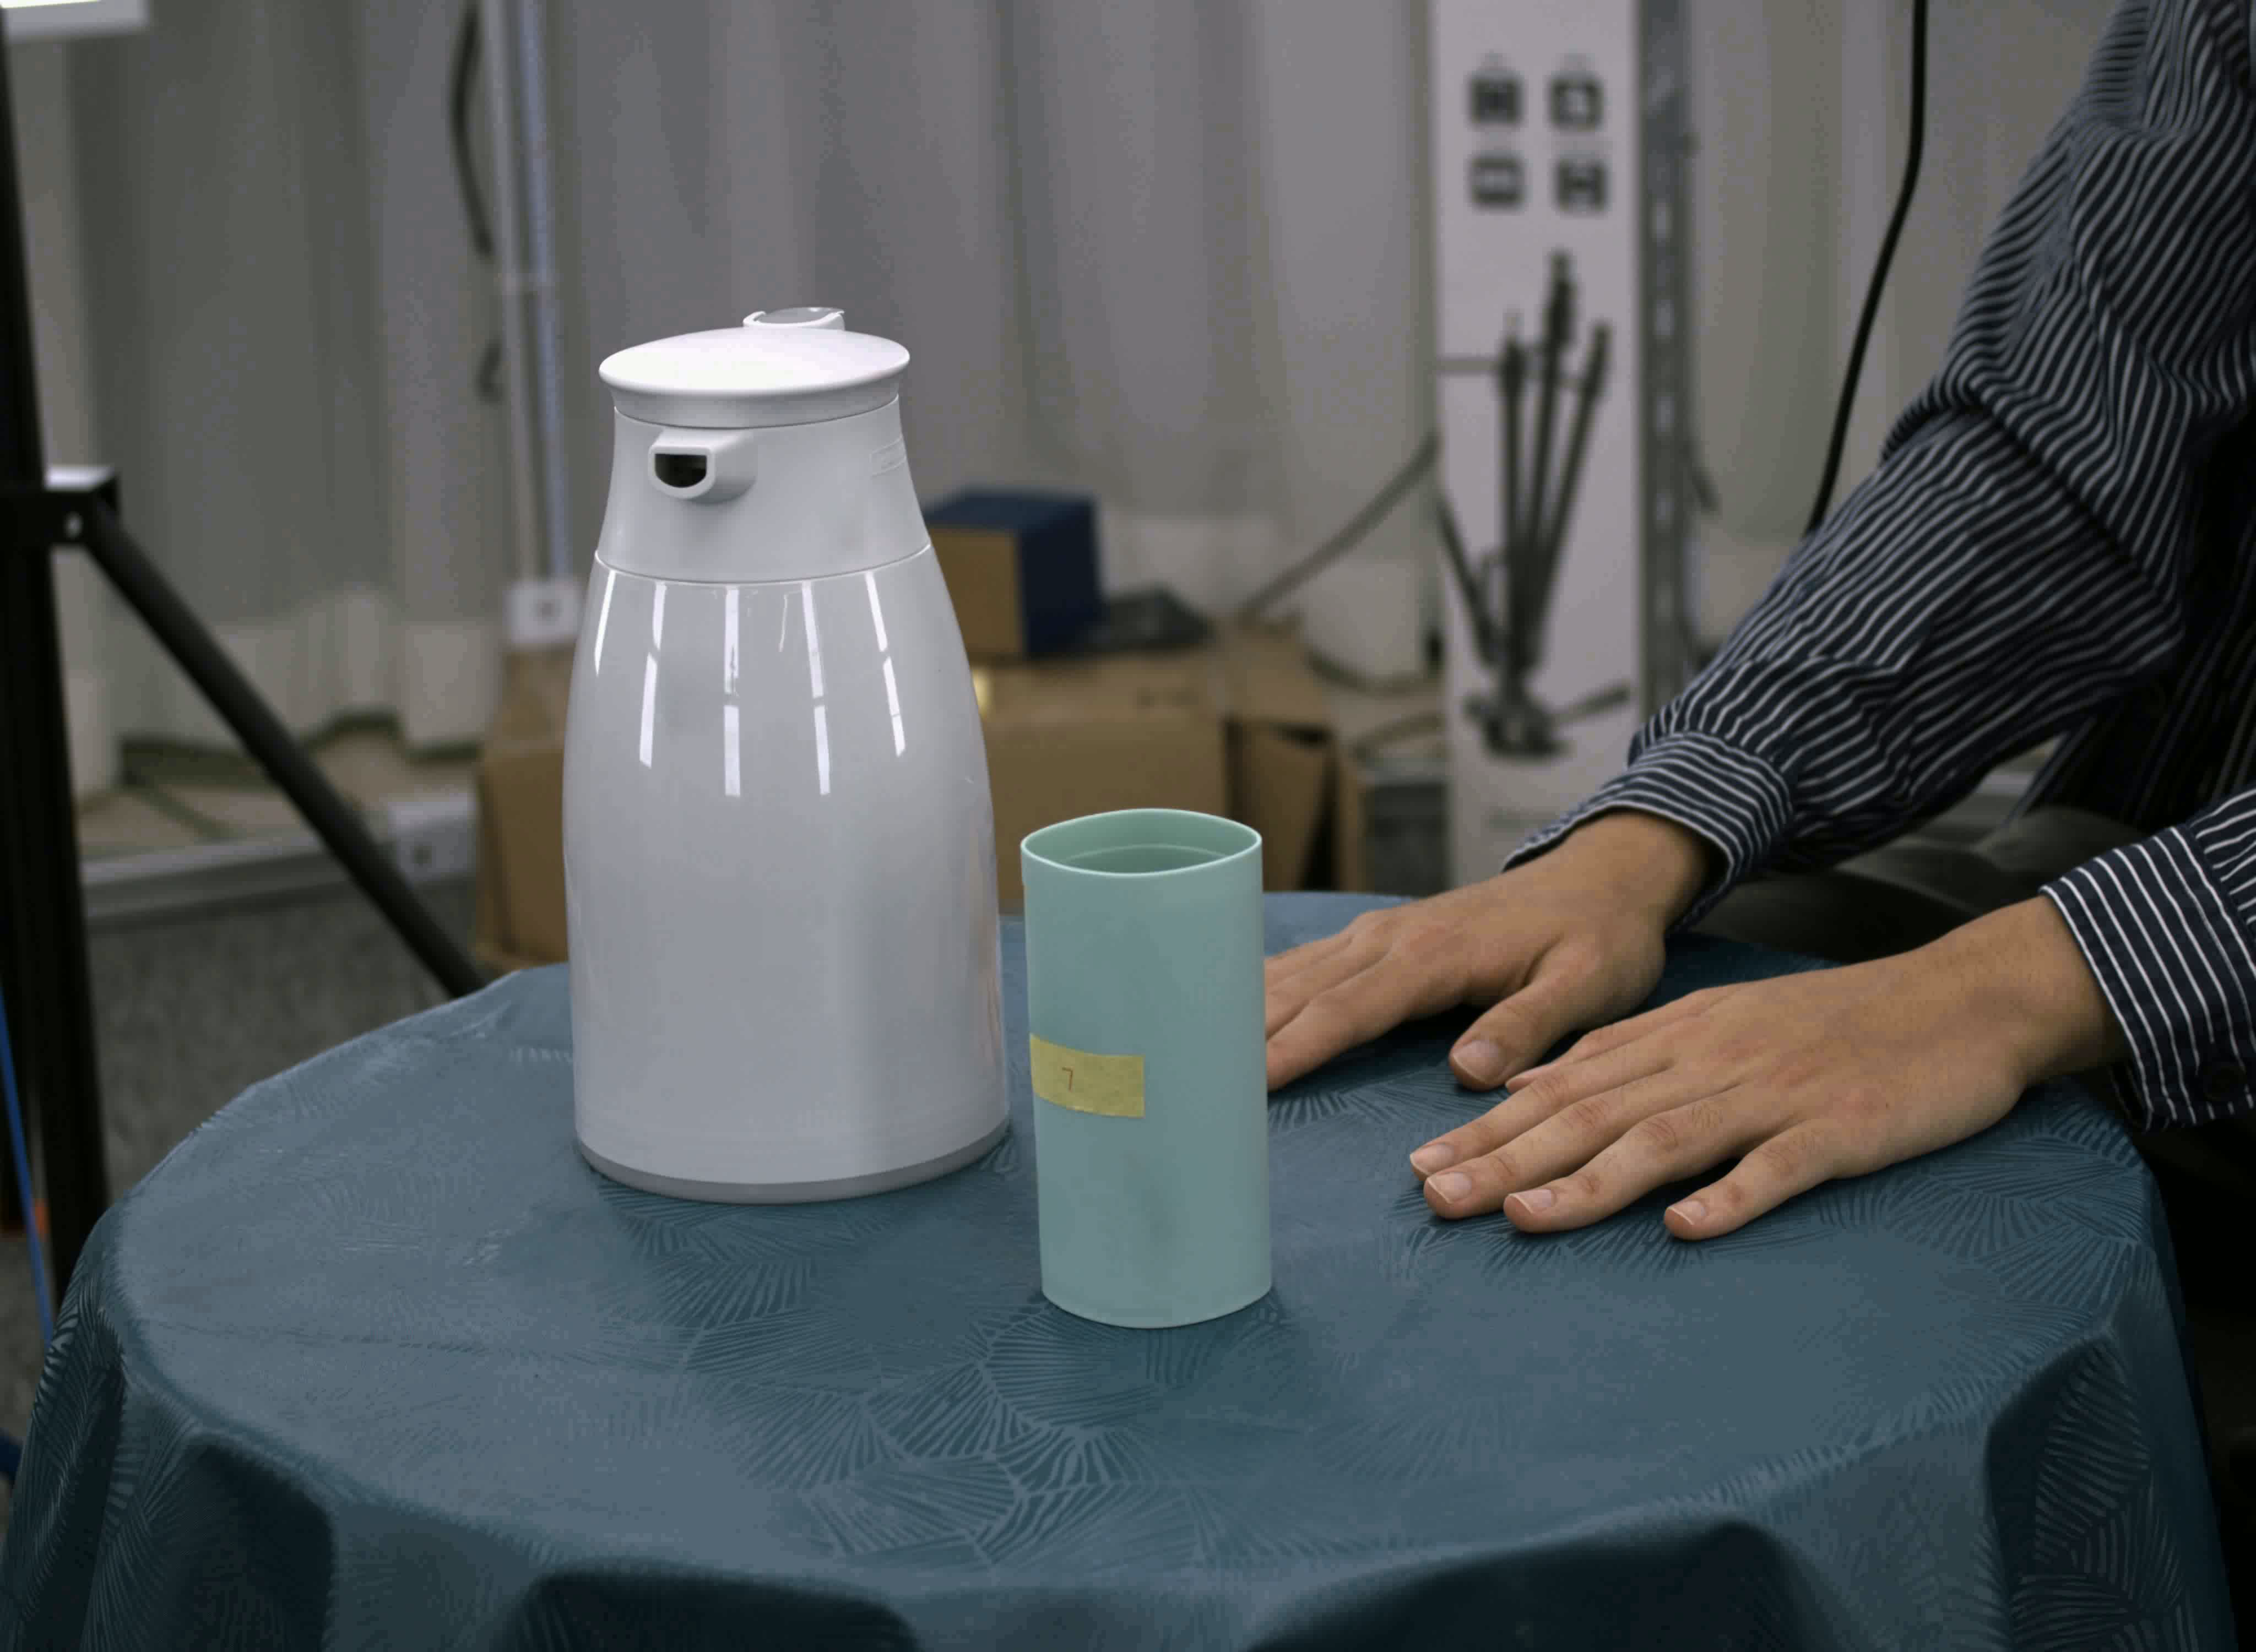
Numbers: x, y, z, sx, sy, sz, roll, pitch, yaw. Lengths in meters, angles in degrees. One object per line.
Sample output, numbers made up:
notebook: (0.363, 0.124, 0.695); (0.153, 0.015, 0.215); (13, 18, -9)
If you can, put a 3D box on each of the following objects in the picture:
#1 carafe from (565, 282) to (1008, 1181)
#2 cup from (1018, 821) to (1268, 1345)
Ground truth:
carafe: (-0.102, -0.037, 1.617); (0.133, 0.248, 0.166); (2, 15, 15)
cup: (0.006, 0.070, 1.470); (0.066, 0.132, 0.067); (-3, 15, -1)
